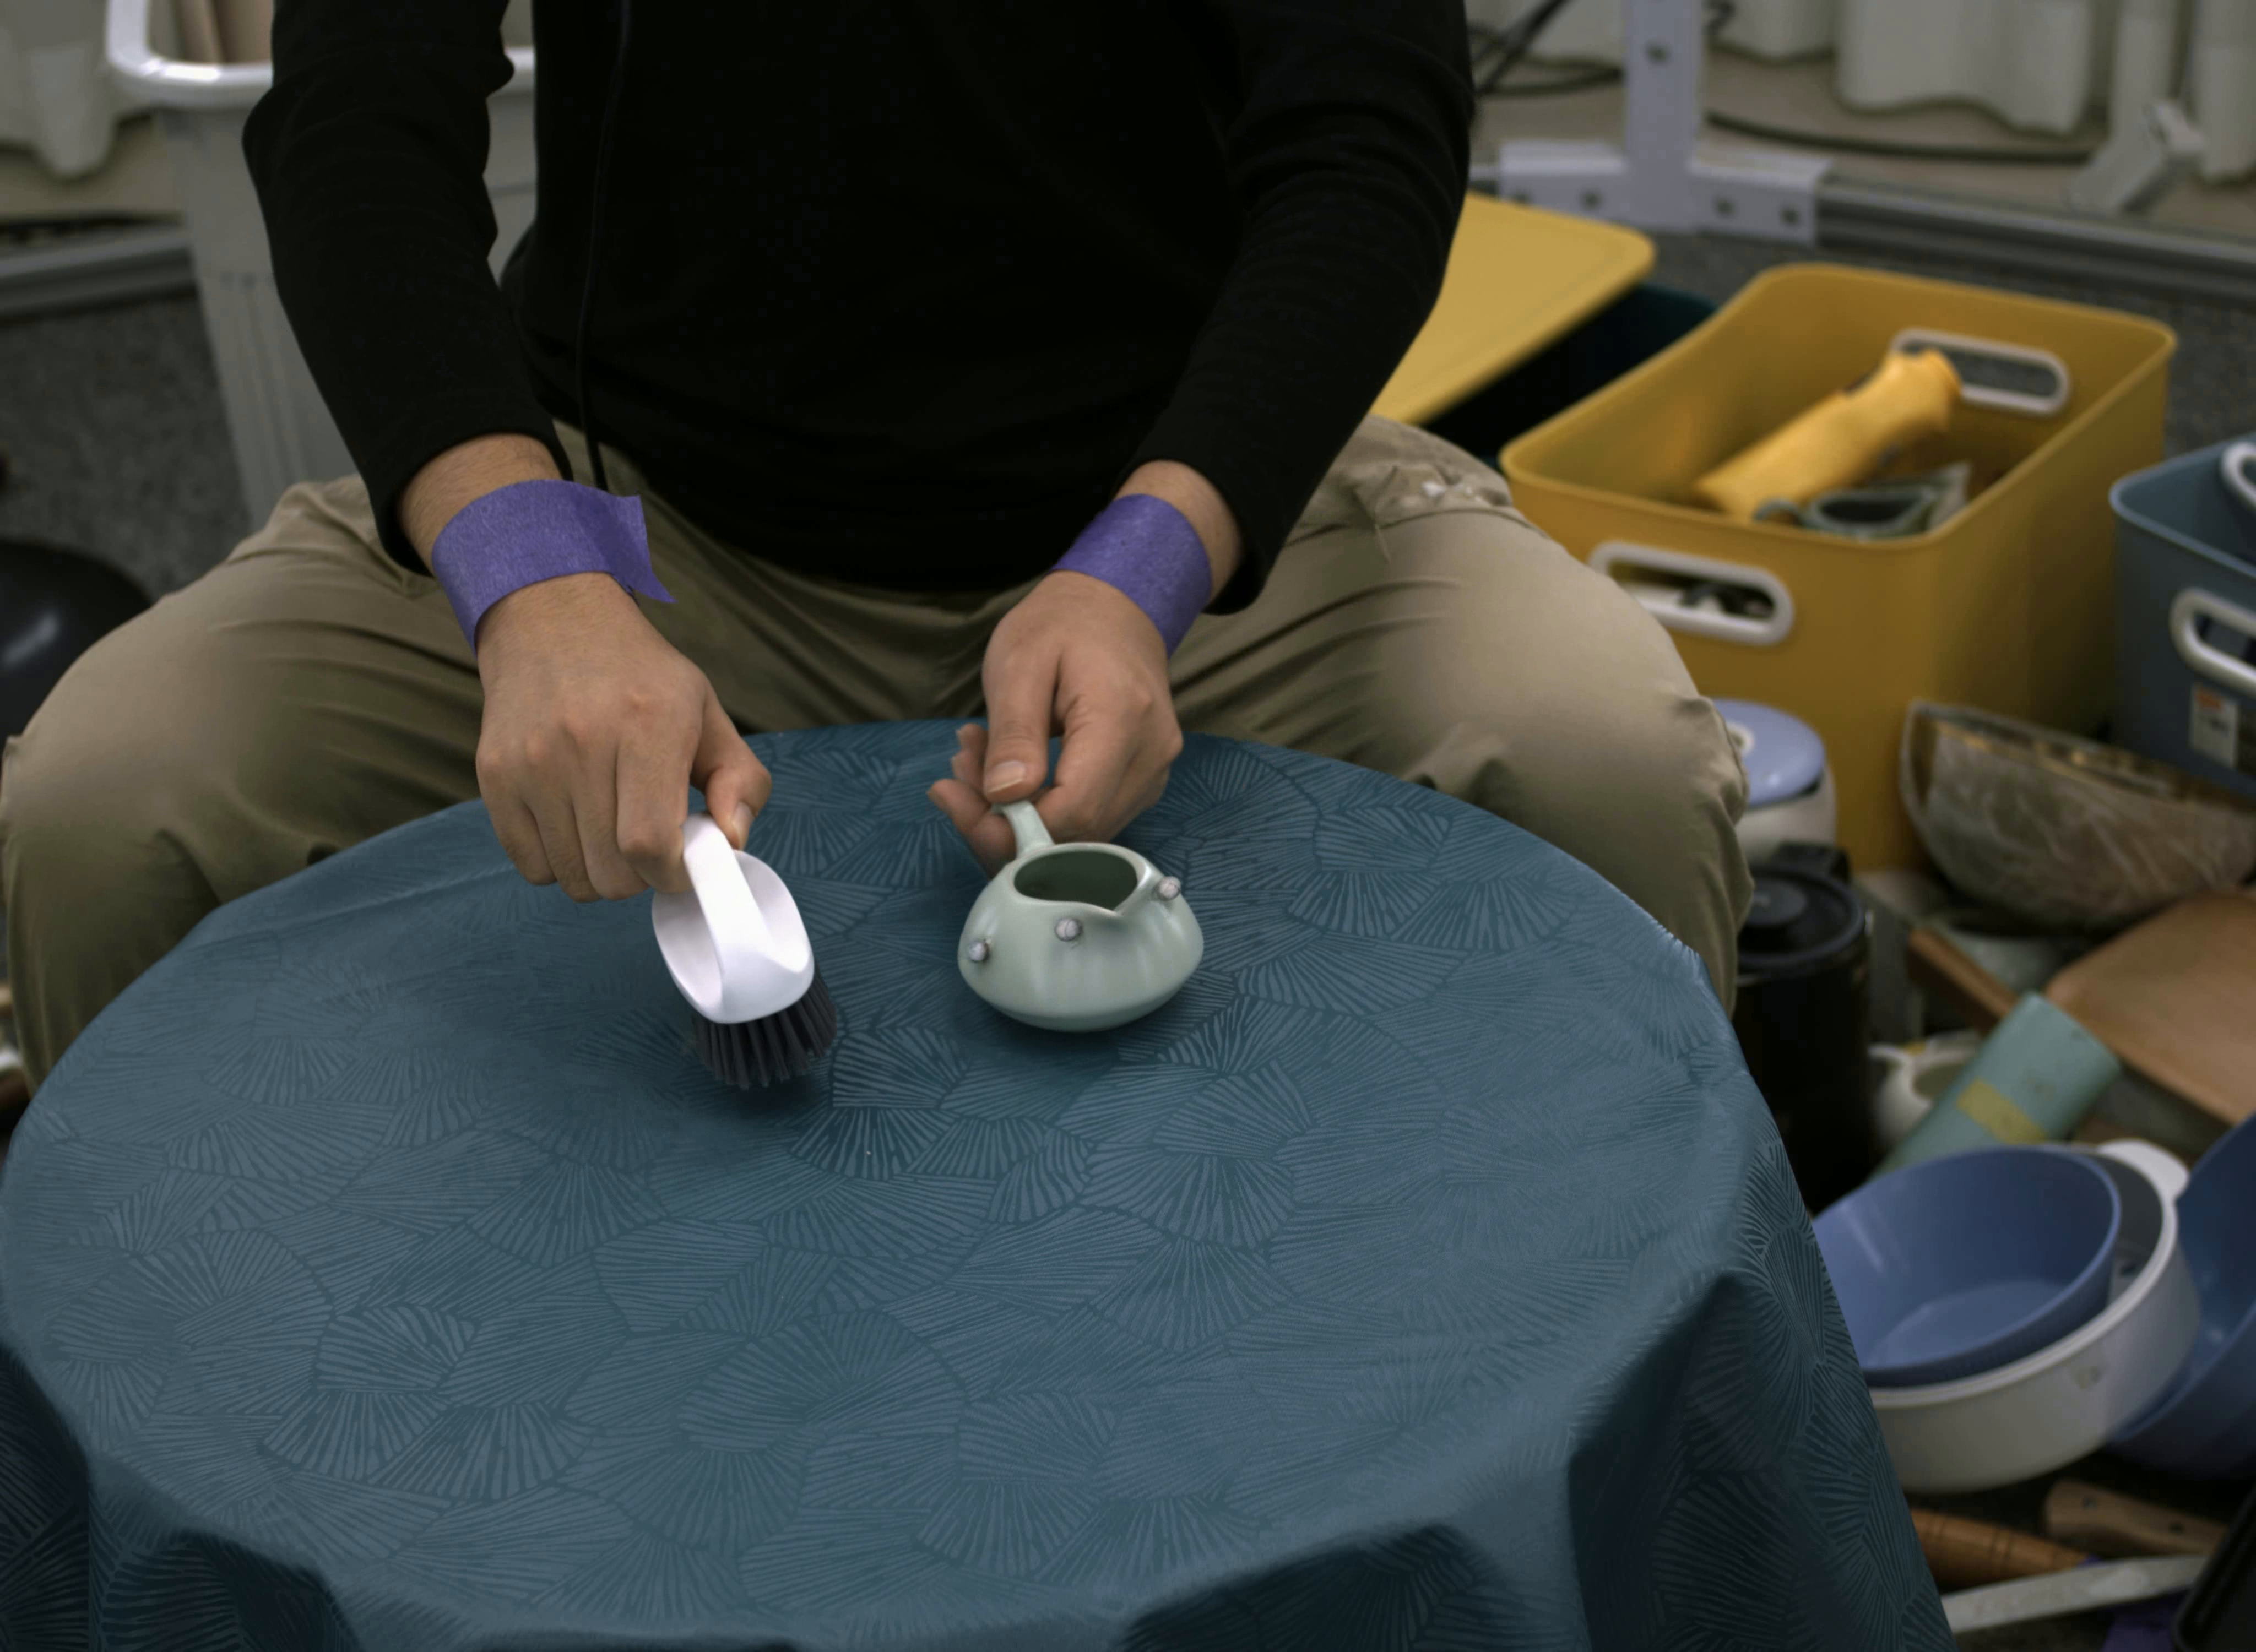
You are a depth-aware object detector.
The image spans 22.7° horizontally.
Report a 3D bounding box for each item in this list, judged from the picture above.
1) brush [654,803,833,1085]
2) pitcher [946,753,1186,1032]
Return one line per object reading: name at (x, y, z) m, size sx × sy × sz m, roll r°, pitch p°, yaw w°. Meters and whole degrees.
brush at (-0.138, 0.033, 1.928) m, size 0.050 × 0.072 × 0.100 m, roll -18°, pitch 32°, yaw -4°
pitcher at (-0.026, 0.024, 1.983) m, size 0.086 × 0.059 × 0.110 m, roll -16°, pitch 45°, yaw -2°
